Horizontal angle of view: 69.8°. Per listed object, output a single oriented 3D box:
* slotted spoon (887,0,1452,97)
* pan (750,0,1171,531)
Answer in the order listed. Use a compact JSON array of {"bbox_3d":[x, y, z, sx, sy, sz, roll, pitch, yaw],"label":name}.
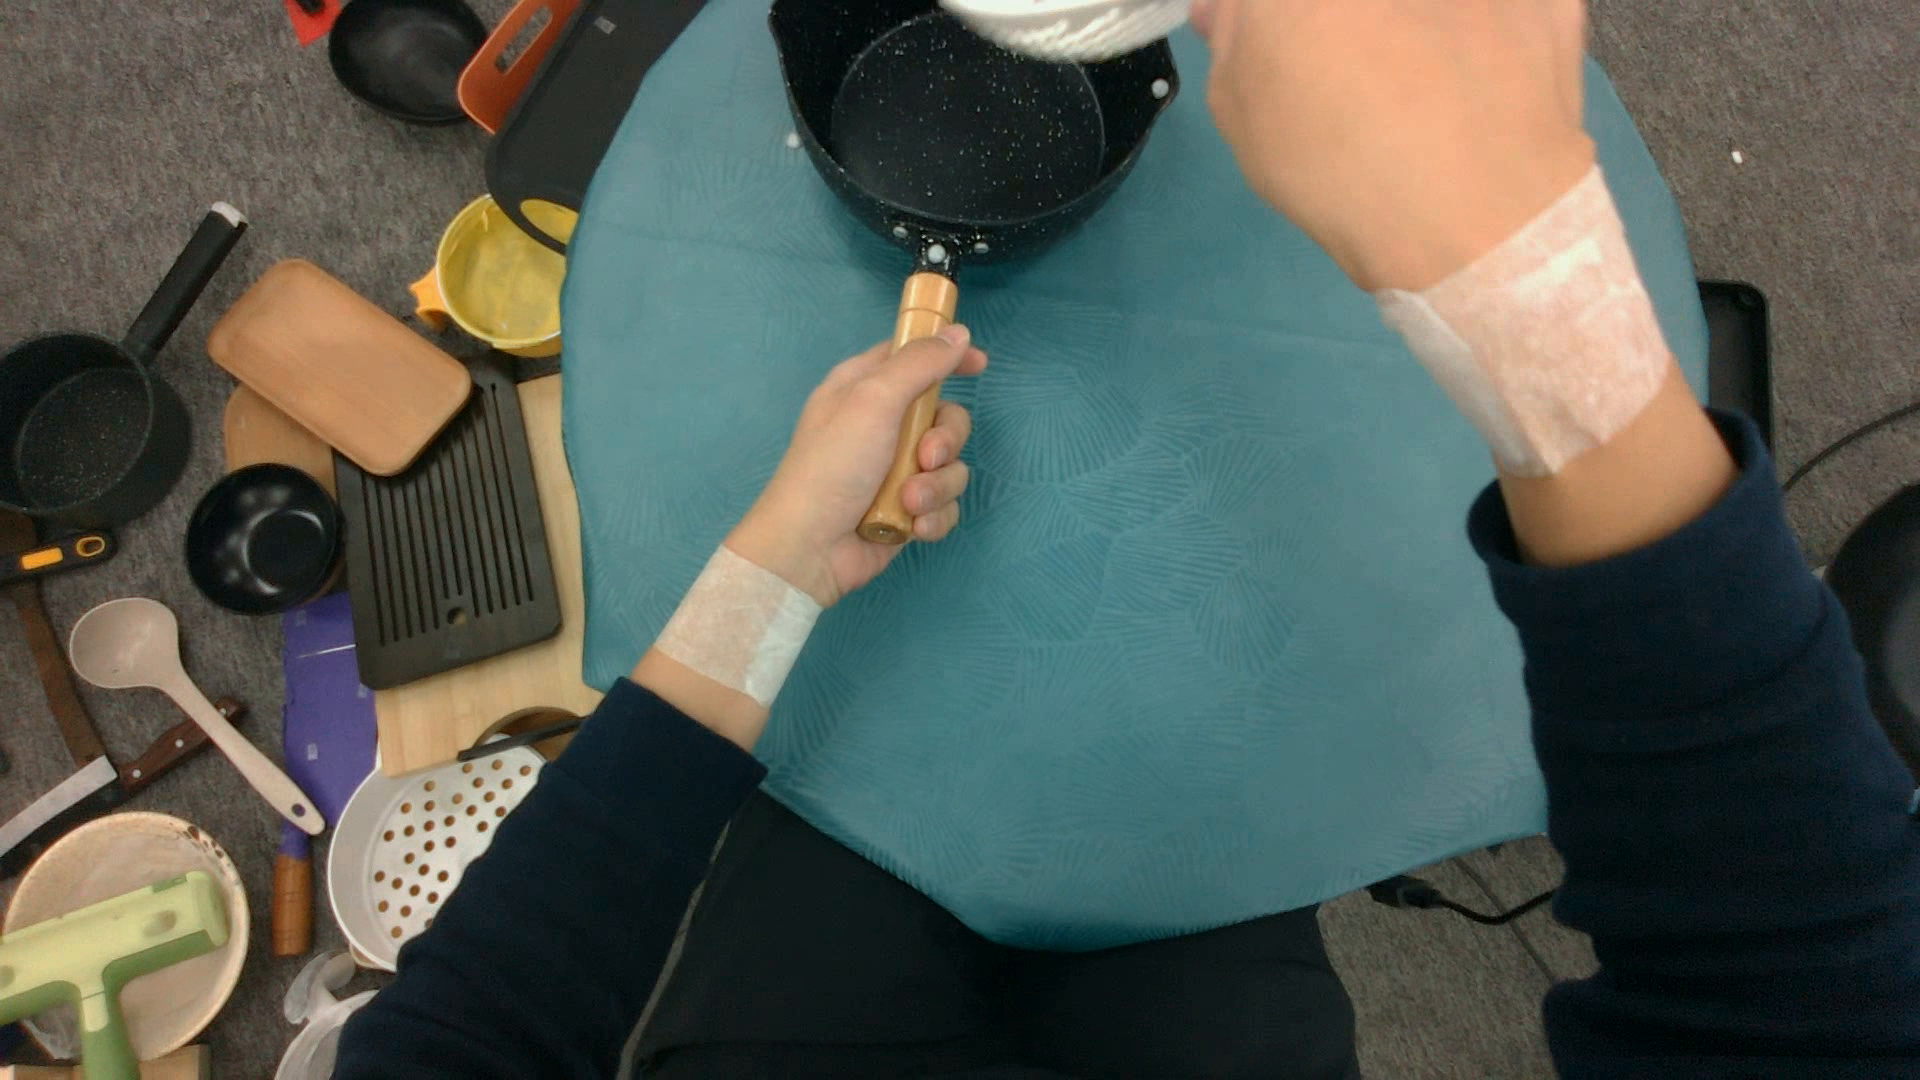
[{"bbox_3d":[0.065,-0.184,0.492,0.137,0.348,0.050,-17,111,-8],"label":"slotted spoon"},{"bbox_3d":[-0.012,-0.158,0.671,0.207,0.108,0.343,9,76,-2],"label":"pan"}]
